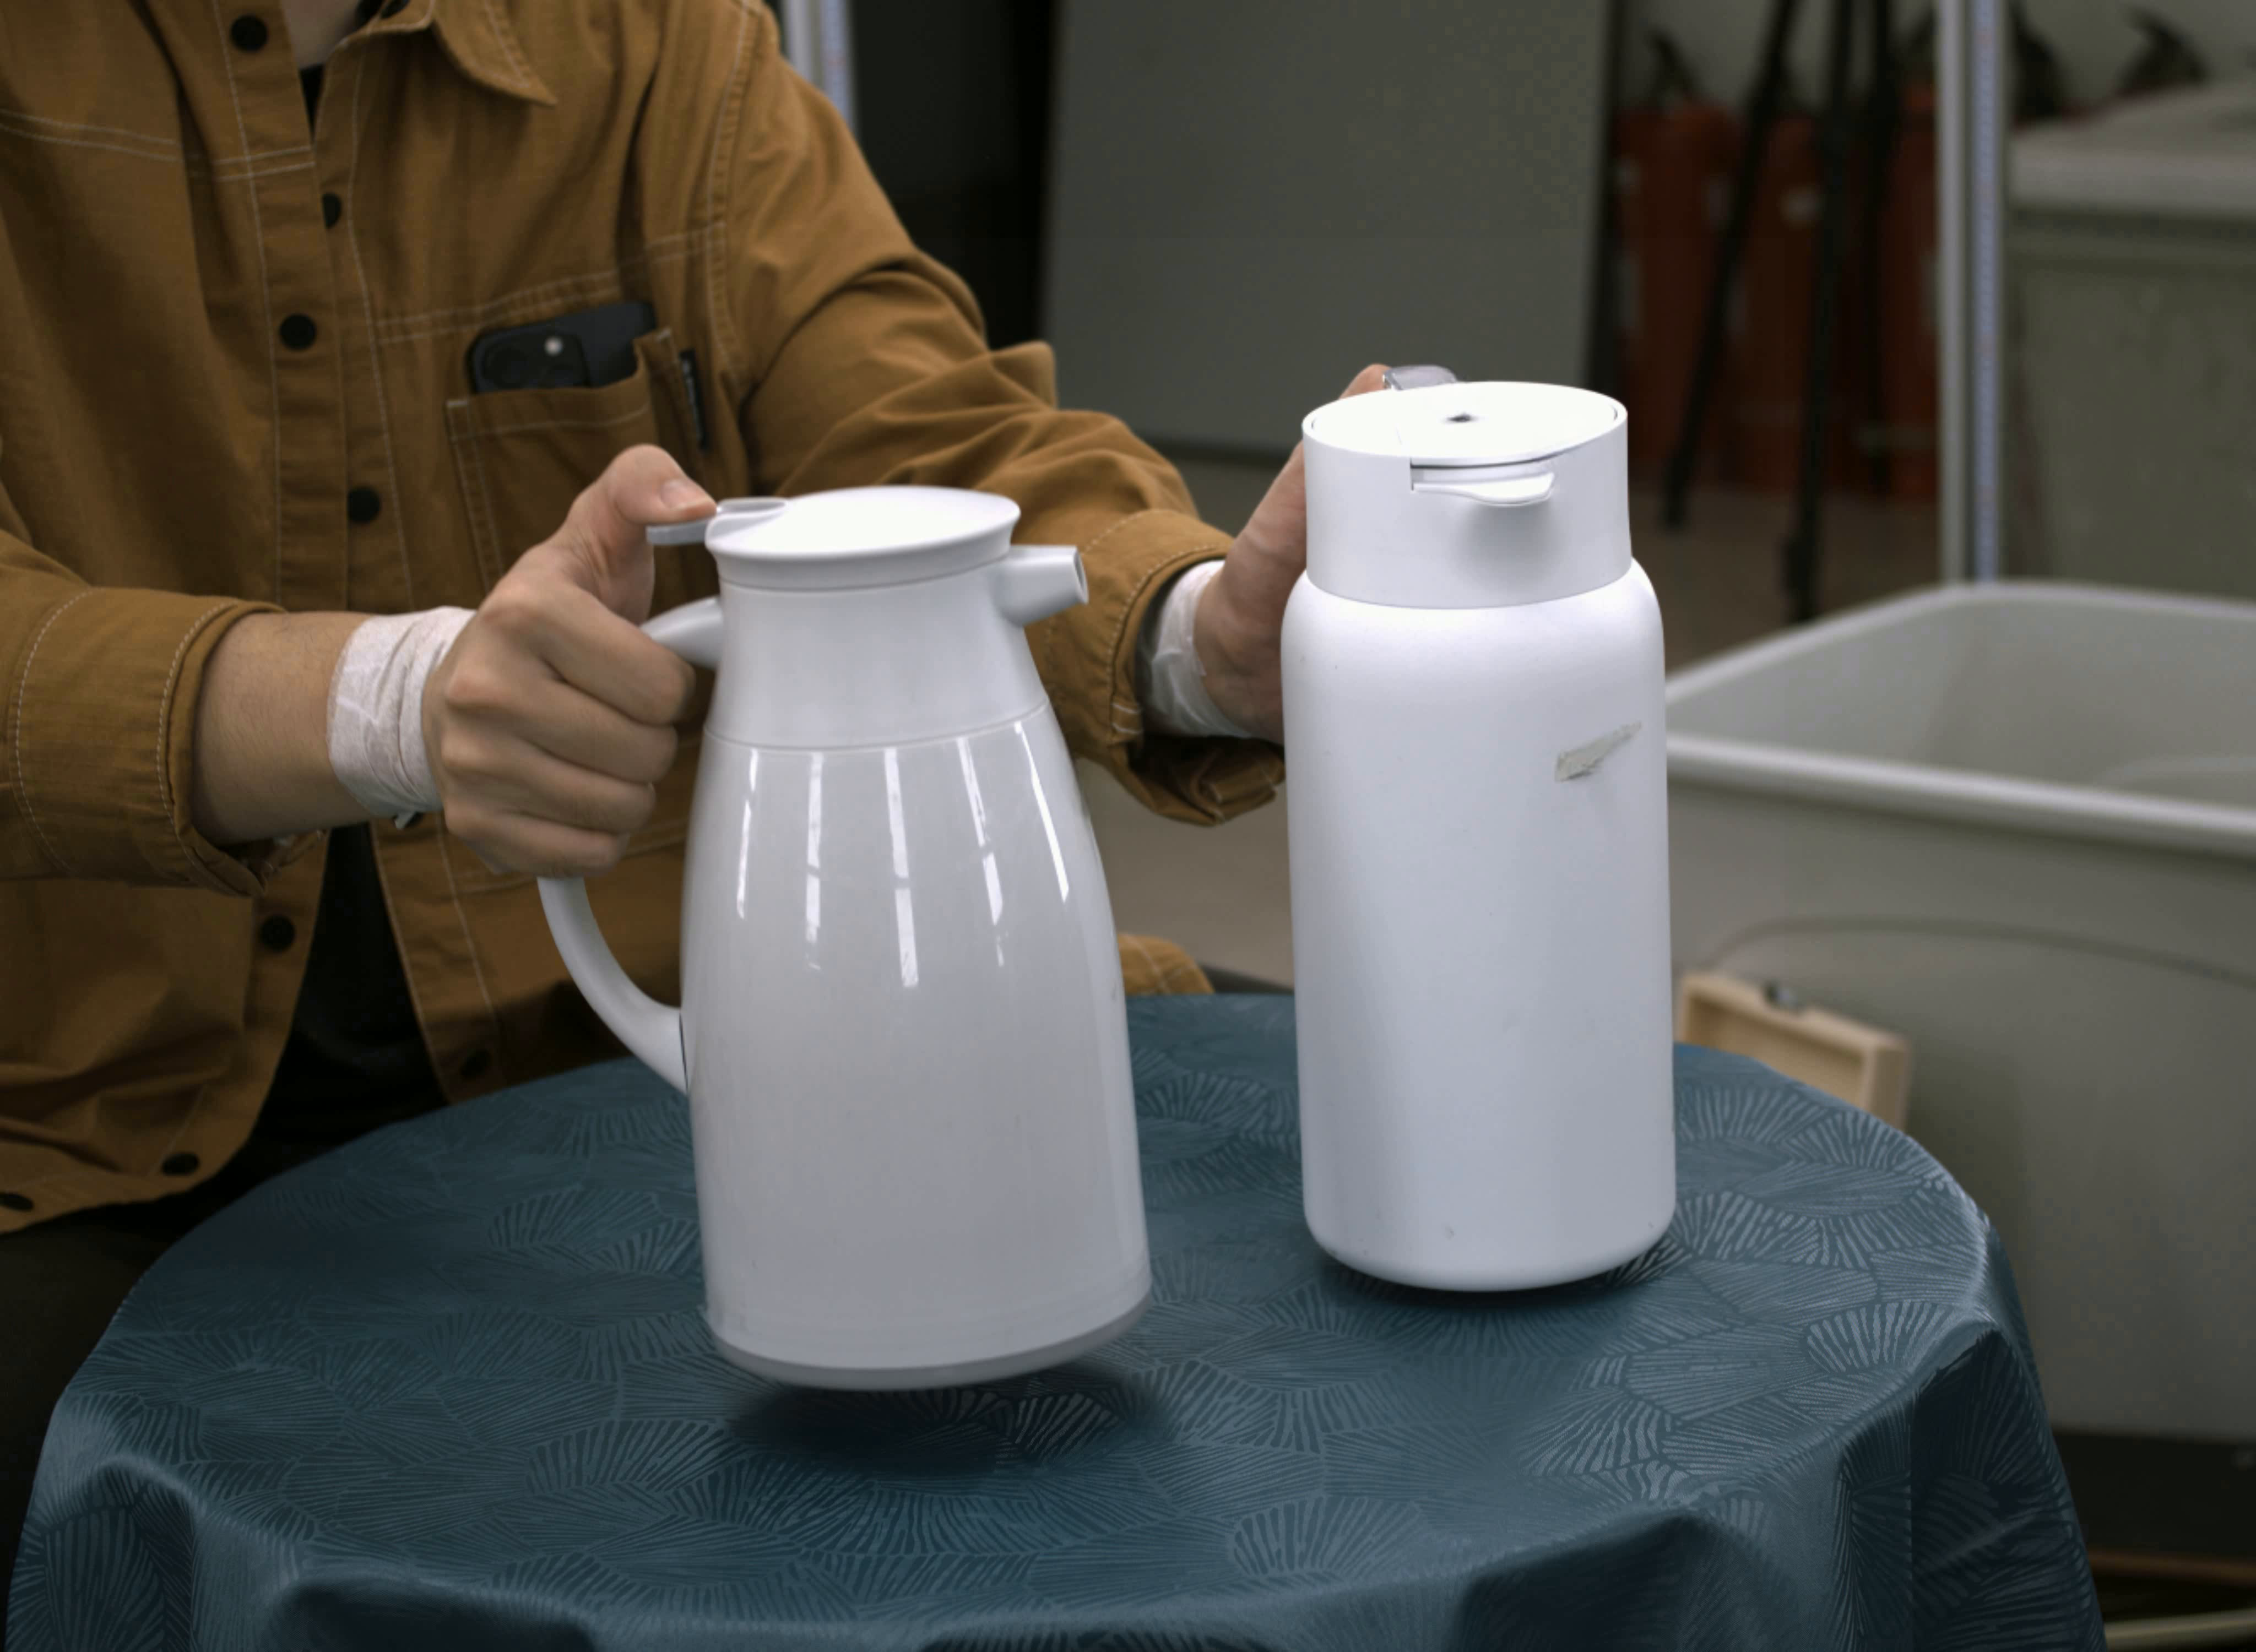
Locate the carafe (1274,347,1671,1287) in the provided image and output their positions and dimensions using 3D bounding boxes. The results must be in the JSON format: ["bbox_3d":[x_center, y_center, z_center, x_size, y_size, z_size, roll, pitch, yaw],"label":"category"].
[{"bbox_3d":[0.100,-0.007,1.661,0.122,0.271,0.174,-8,16,-9],"label":"carafe"}]

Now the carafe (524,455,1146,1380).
[{"bbox_3d":[-0.088,0.022,1.556,0.166,0.251,0.132,-5,12,5],"label":"carafe"}]
